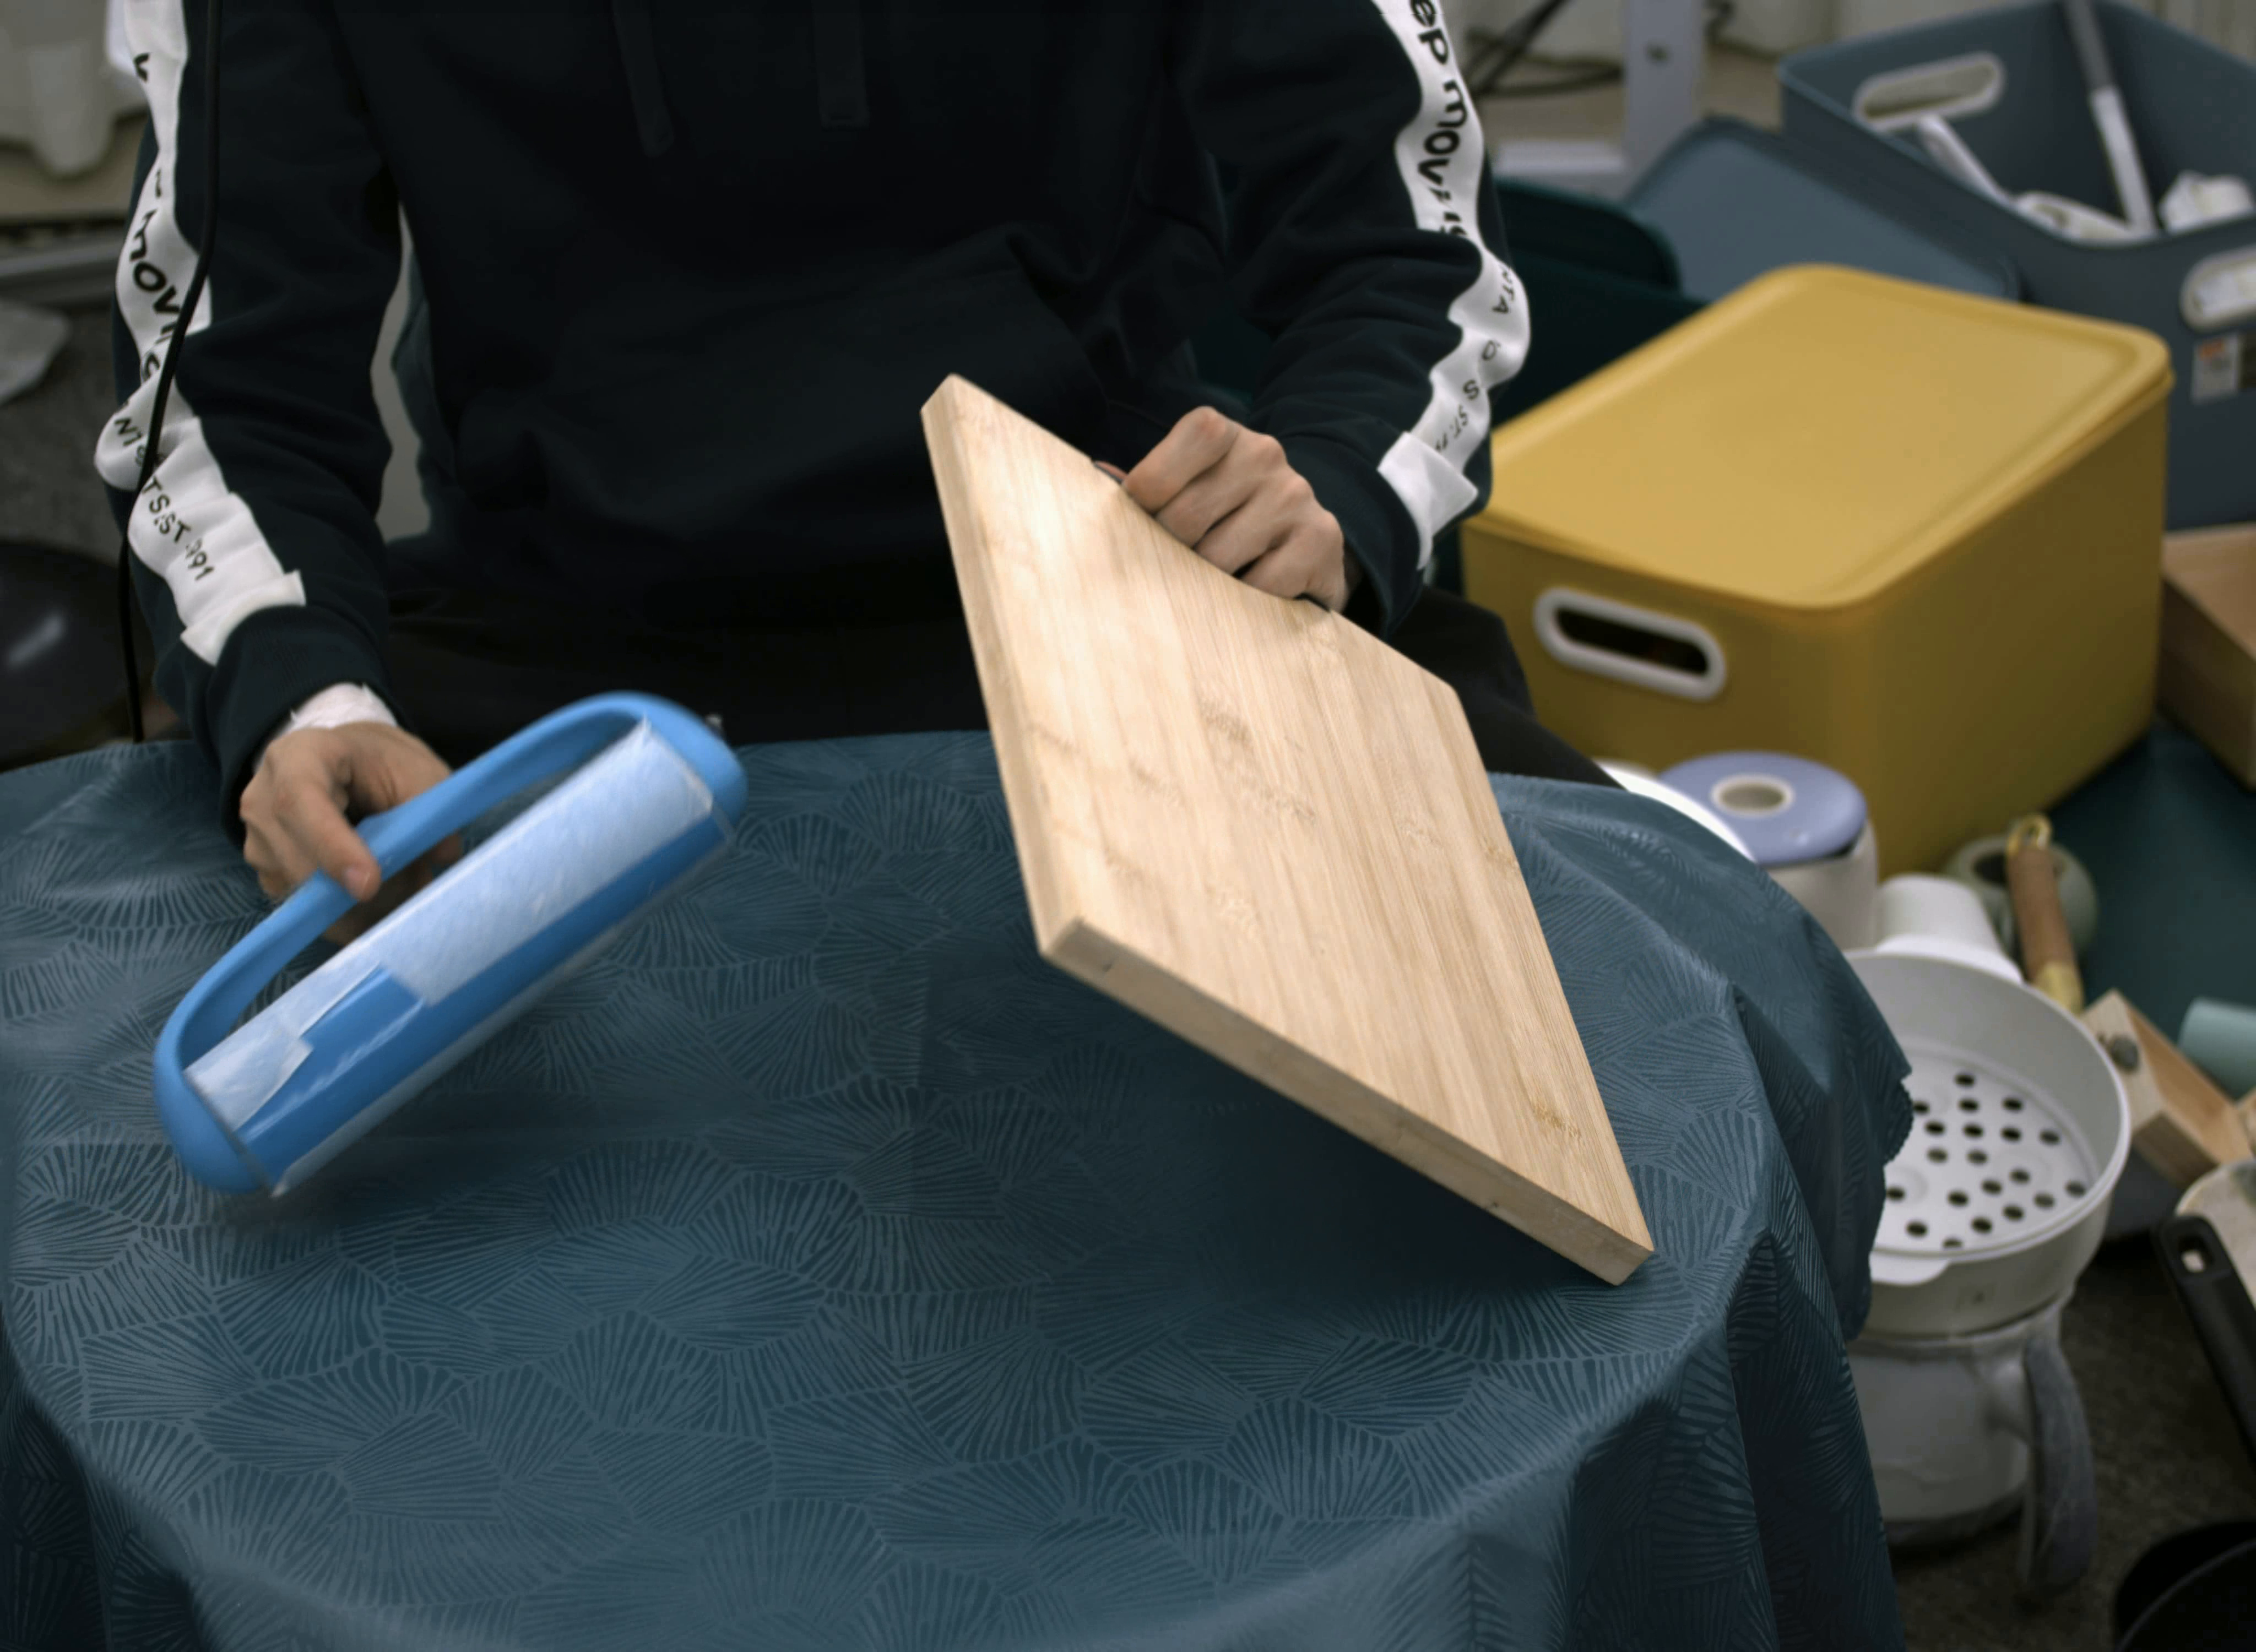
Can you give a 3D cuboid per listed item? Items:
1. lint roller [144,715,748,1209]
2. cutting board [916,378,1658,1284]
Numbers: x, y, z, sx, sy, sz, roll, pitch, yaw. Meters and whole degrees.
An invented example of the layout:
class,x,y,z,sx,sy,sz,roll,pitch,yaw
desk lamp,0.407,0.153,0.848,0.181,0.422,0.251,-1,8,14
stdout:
class,x,y,z,sx,sy,sz,roll,pitch,yaw
lint roller,-0.248,0.034,1.921,0.230,0.067,0.180,-38,27,-12
cutting board,0.046,-0.005,1.887,0.249,0.023,0.354,30,24,-26
